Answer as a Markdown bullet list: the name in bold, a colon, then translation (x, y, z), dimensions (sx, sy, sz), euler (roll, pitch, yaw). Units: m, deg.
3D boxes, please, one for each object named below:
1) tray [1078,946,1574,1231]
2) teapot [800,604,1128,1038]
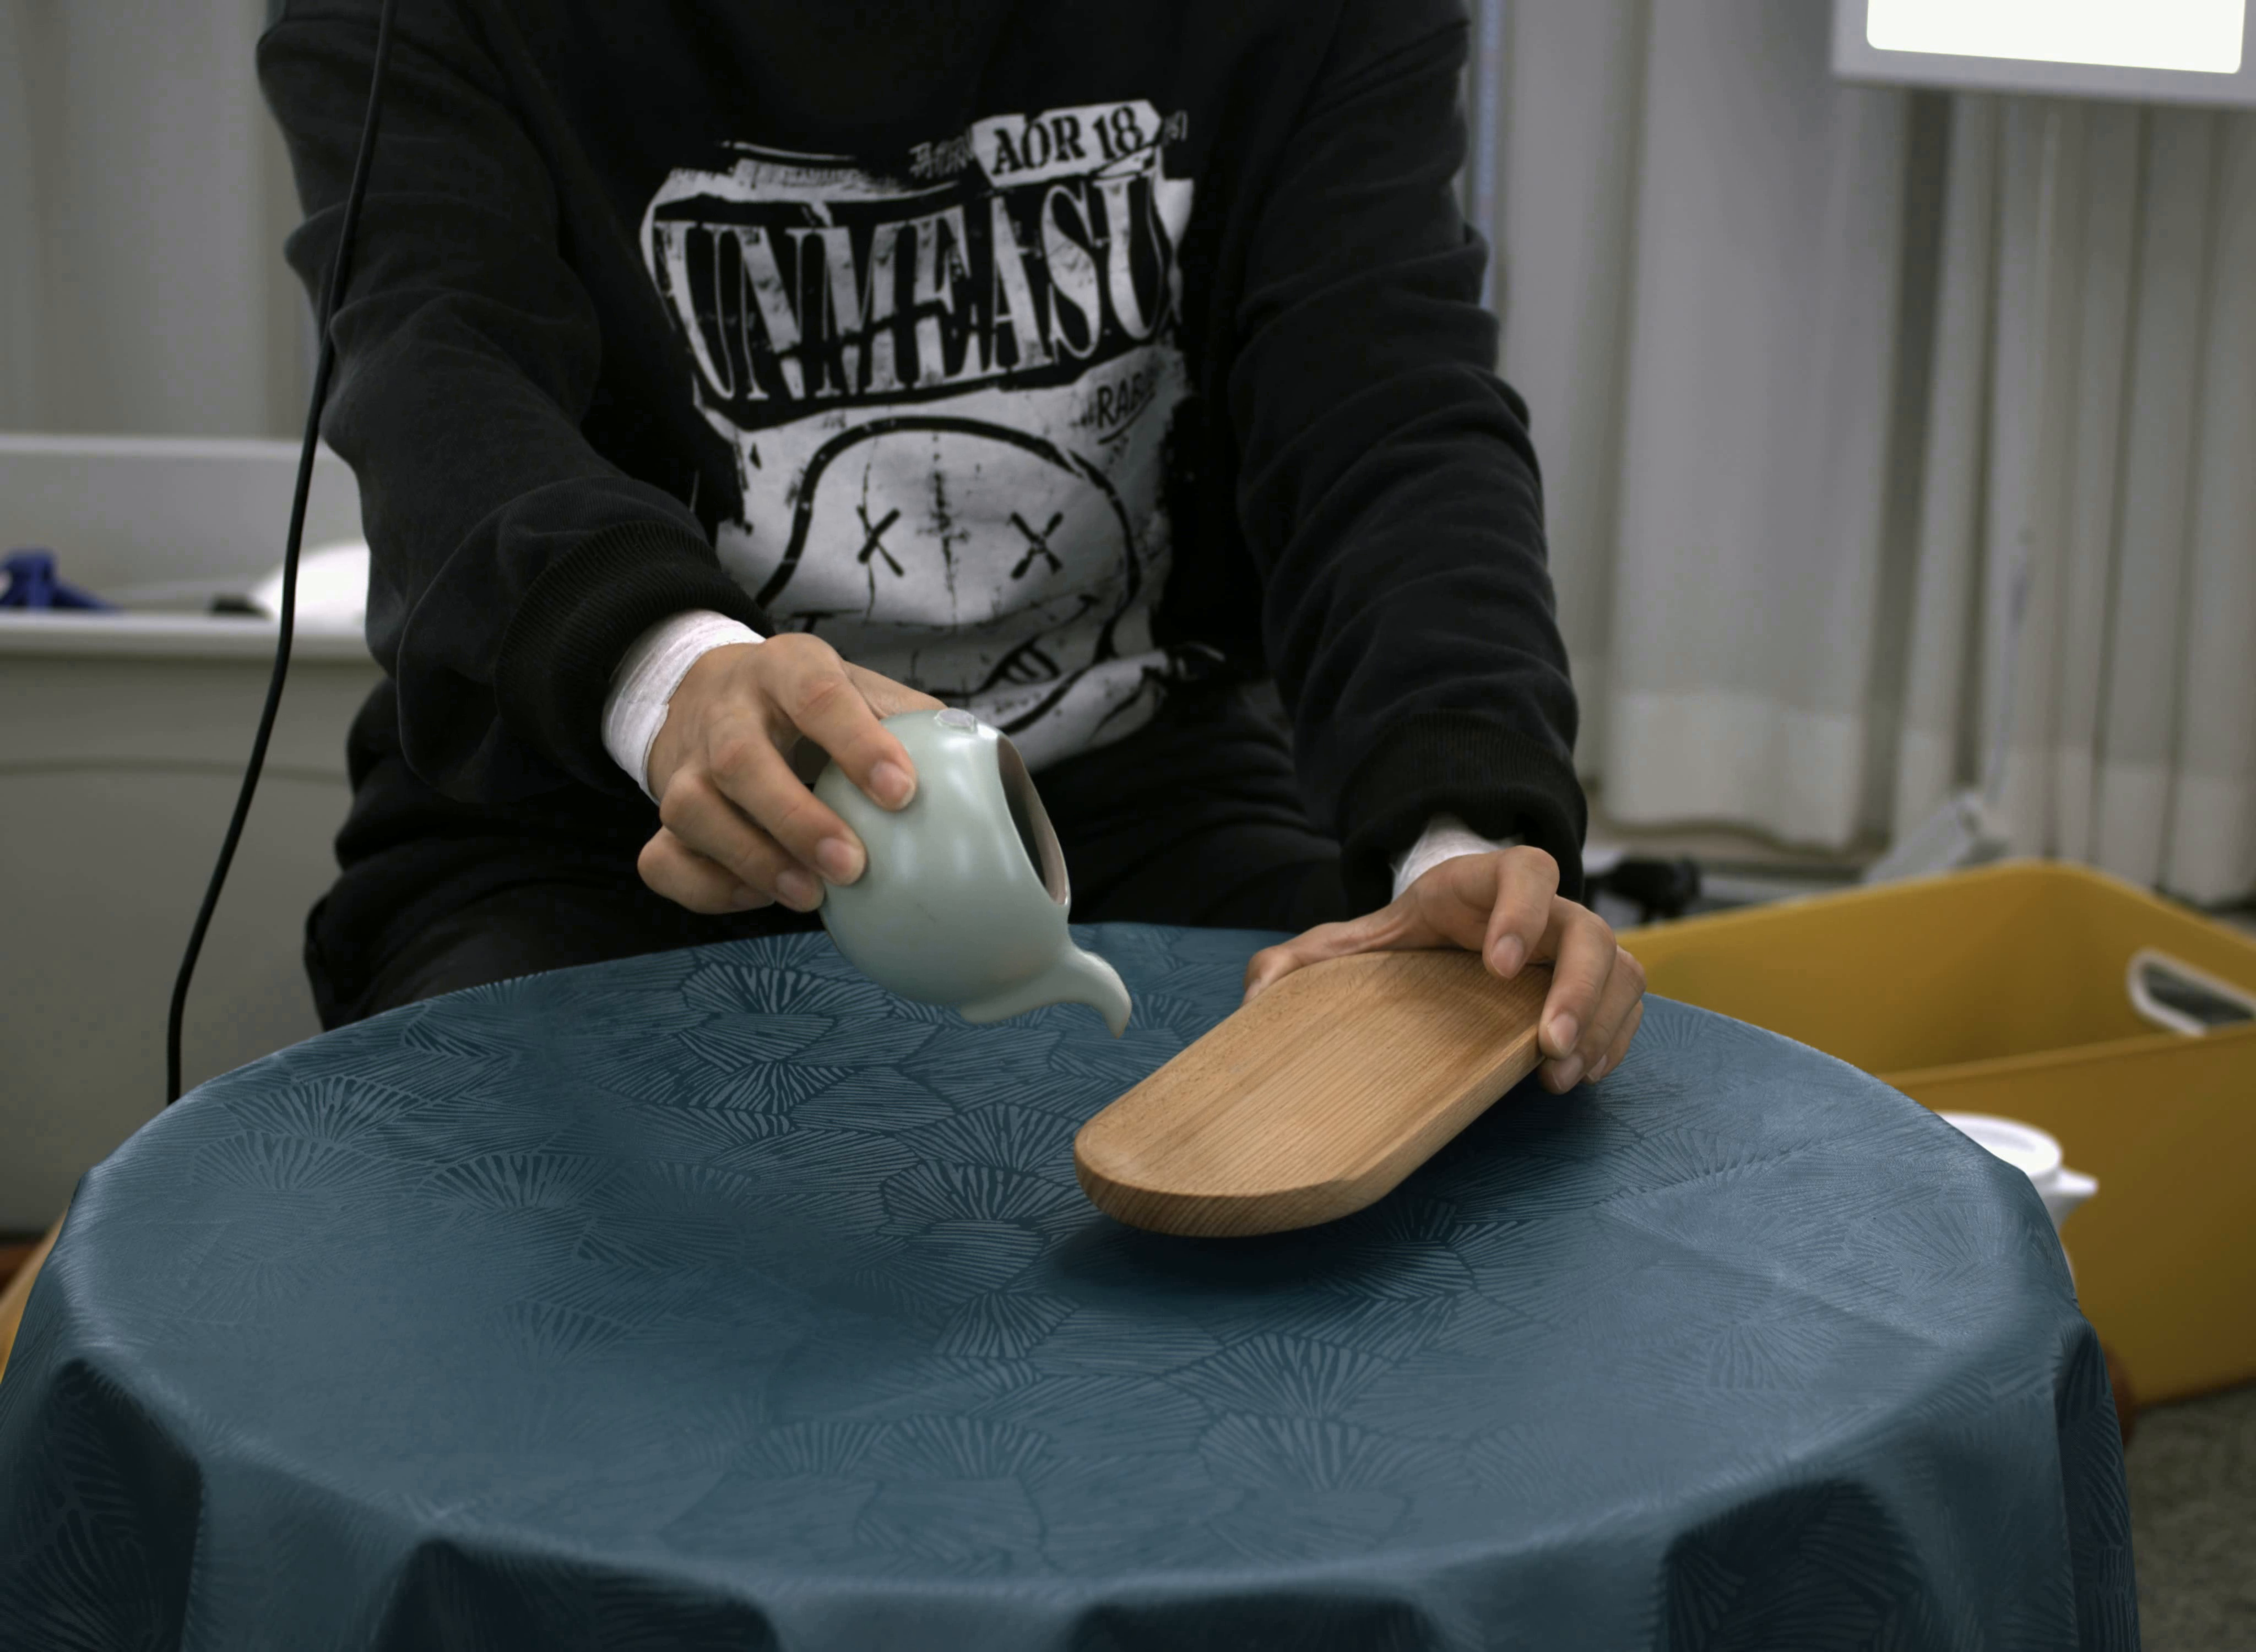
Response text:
- **tray**: translation (0.064, 0.079, 1.628), dimensions (0.100, 0.020, 0.231), euler (6, 18, 25)
- **teapot**: translation (-0.055, 0.008, 1.549), dimensions (0.074, 0.145, 0.088), euler (-17, 17, 9)
